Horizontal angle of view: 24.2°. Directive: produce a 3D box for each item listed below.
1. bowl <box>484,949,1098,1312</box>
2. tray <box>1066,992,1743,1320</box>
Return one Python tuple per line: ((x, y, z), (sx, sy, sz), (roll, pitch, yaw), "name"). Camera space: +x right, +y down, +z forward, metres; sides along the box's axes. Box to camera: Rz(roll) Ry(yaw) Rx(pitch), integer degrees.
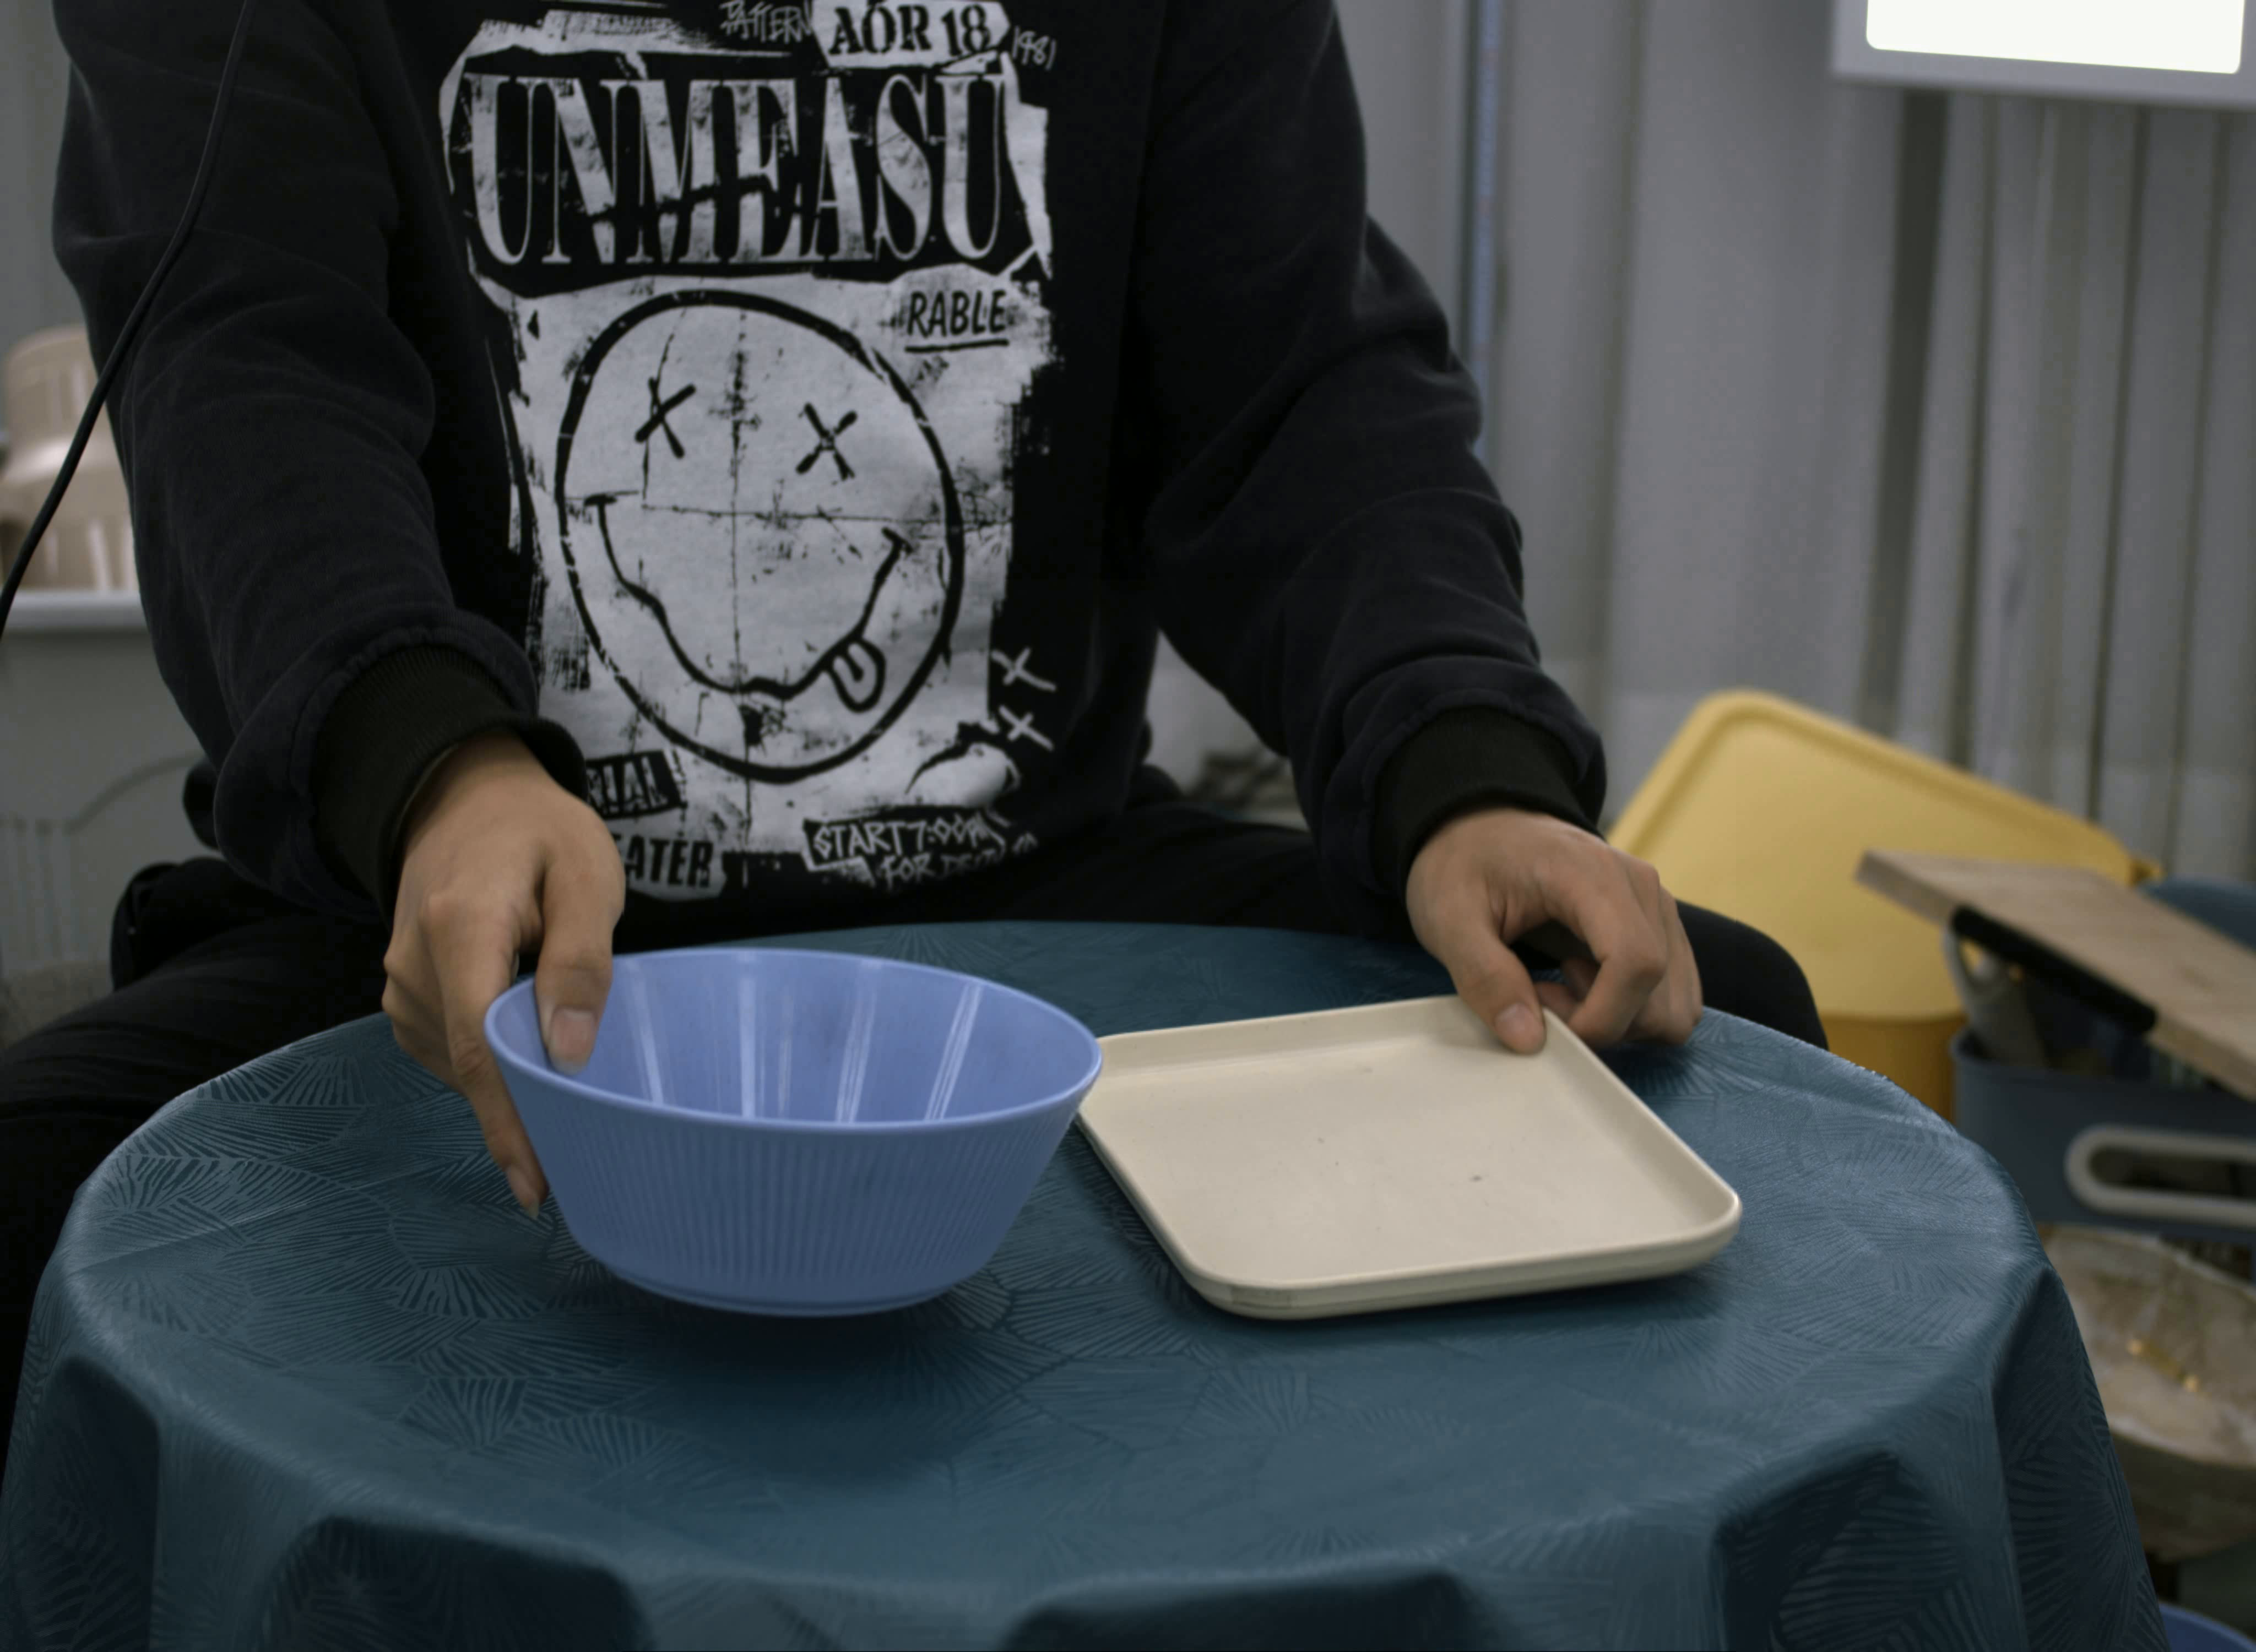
((-0.098, 0.089, 1.505), (0.175, 0.071, 0.175), (6, 14, -1), "bowl")
((0.078, 0.100, 1.627), (0.171, 0.017, 0.237), (-6, 17, -12), "tray")
